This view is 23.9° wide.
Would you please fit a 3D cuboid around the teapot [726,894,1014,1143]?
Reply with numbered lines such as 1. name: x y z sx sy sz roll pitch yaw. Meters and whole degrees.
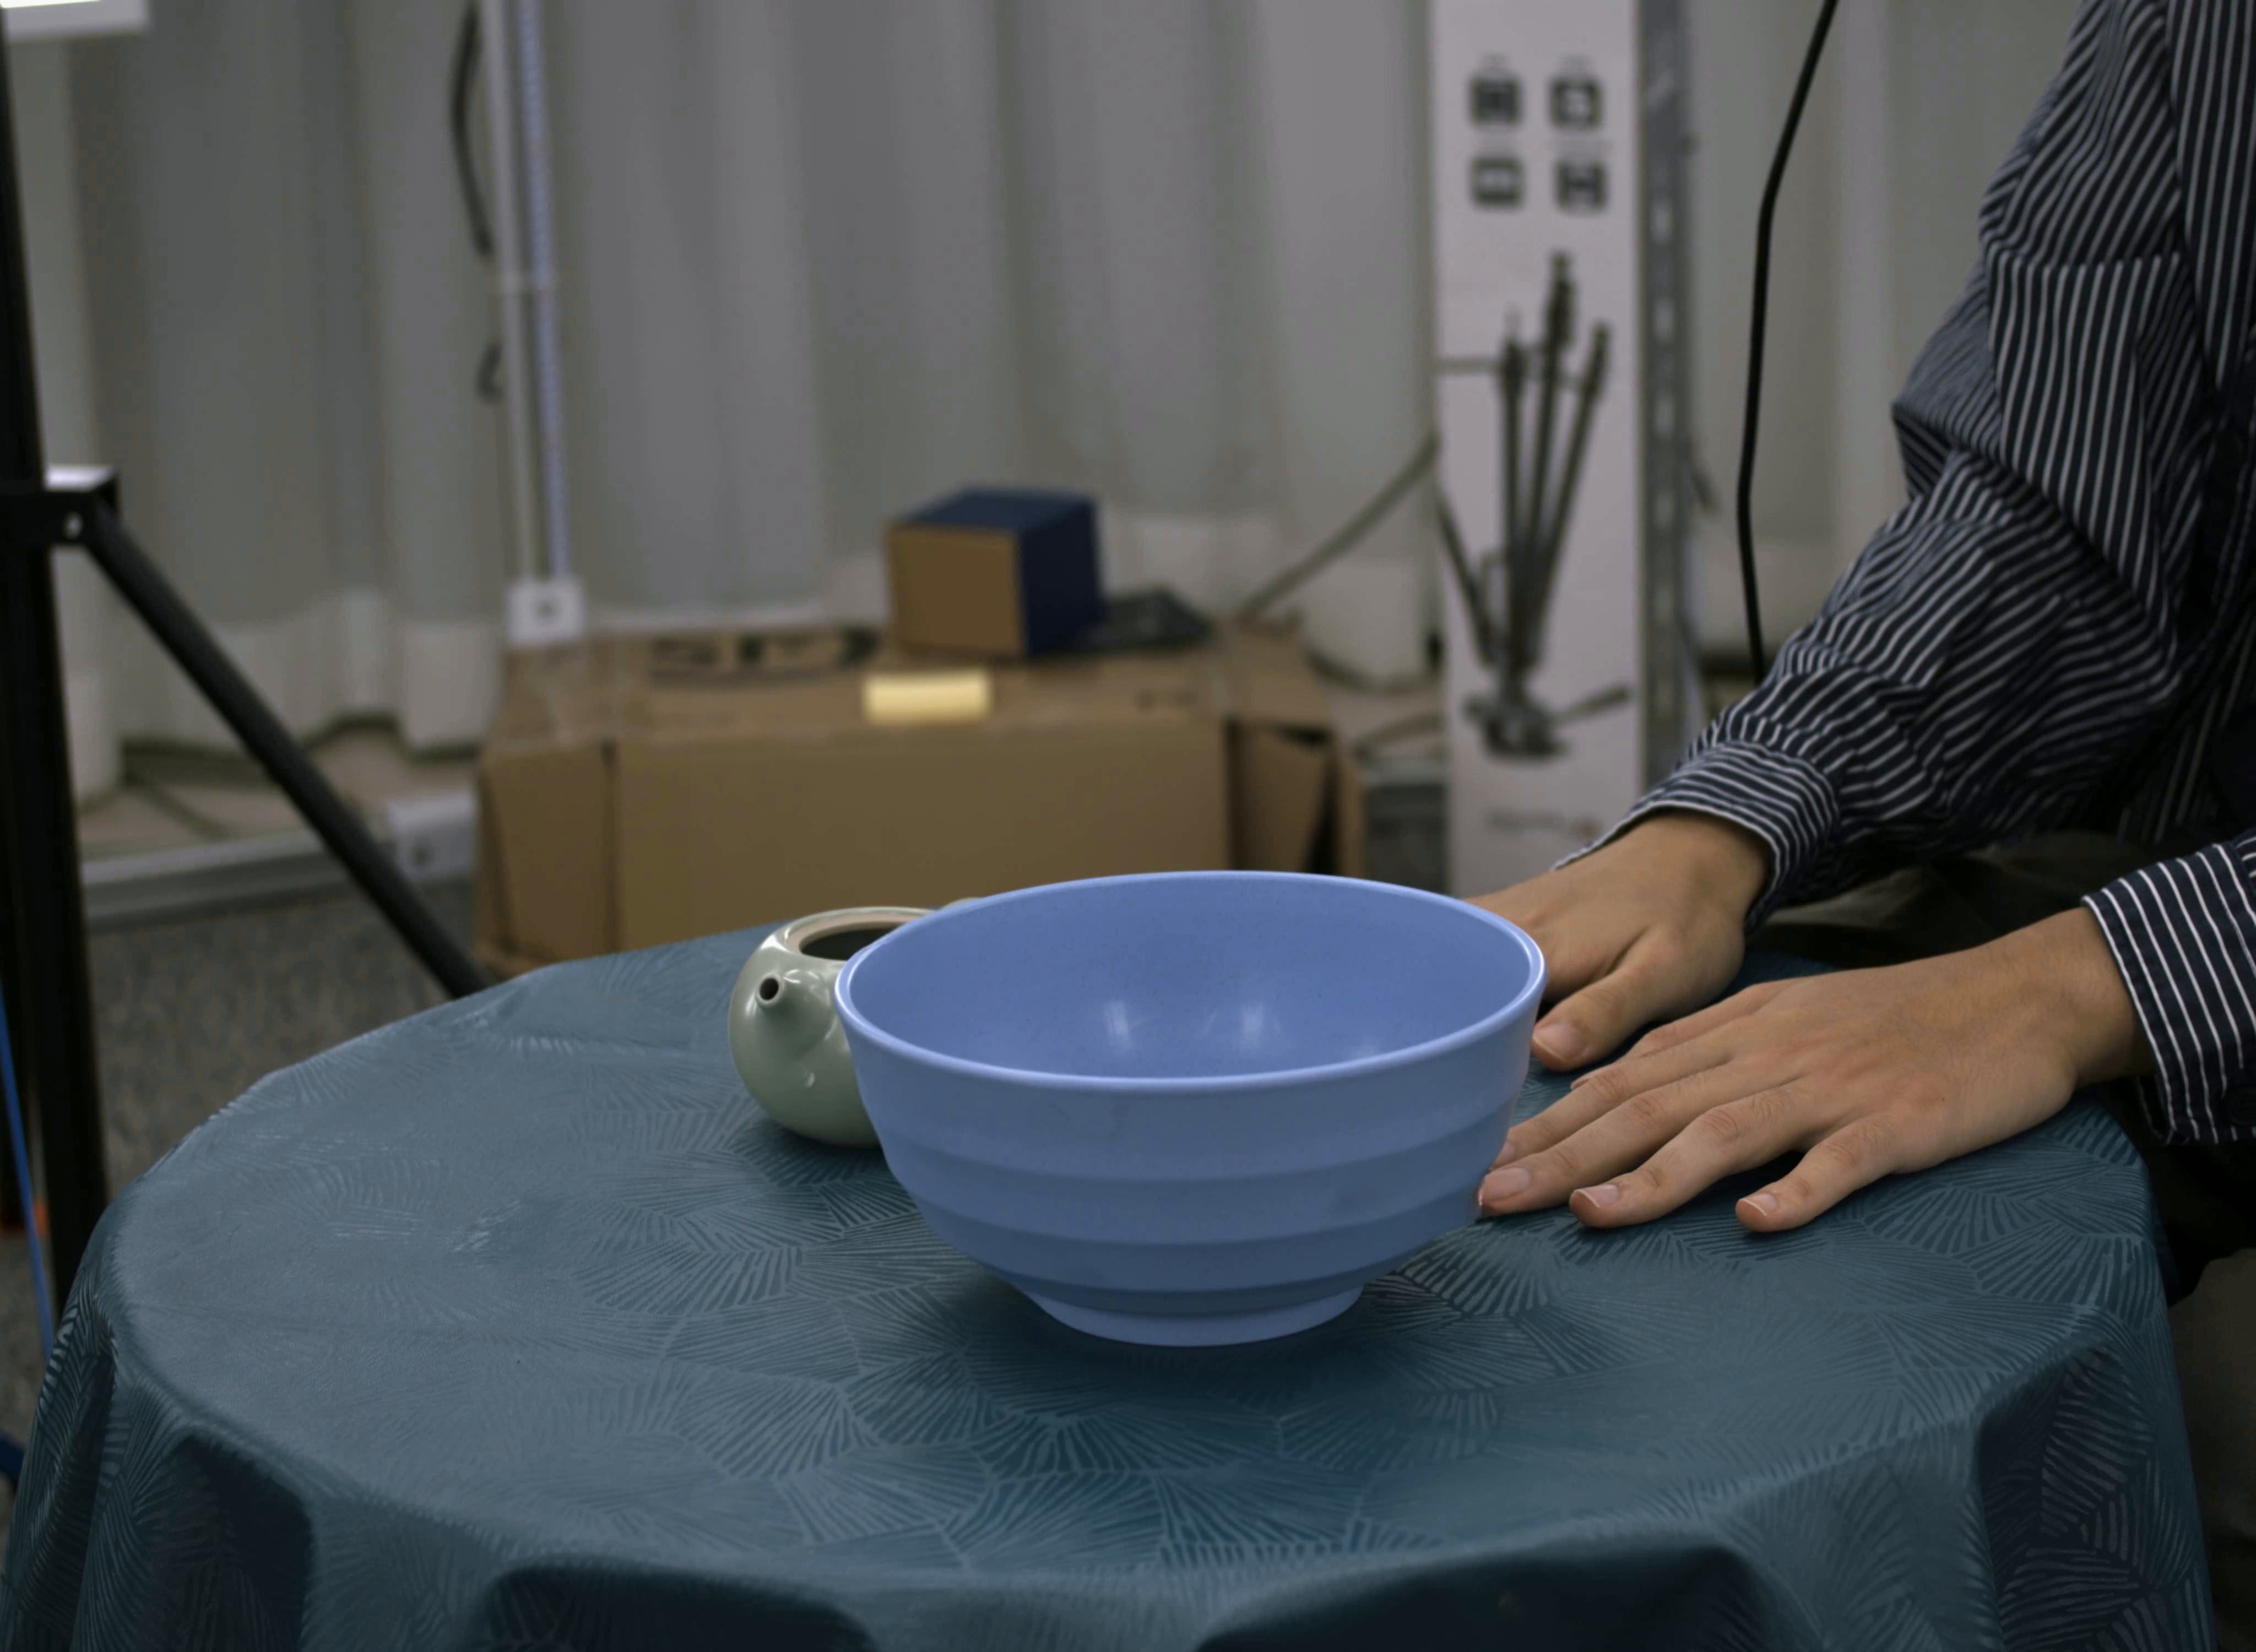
1. teapot: -0.071 0.058 1.638 0.093 0.061 0.125 9 19 40

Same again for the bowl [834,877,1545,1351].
1. bowl: 0.018 0.085 1.472 0.195 0.095 0.197 -3 15 -1
